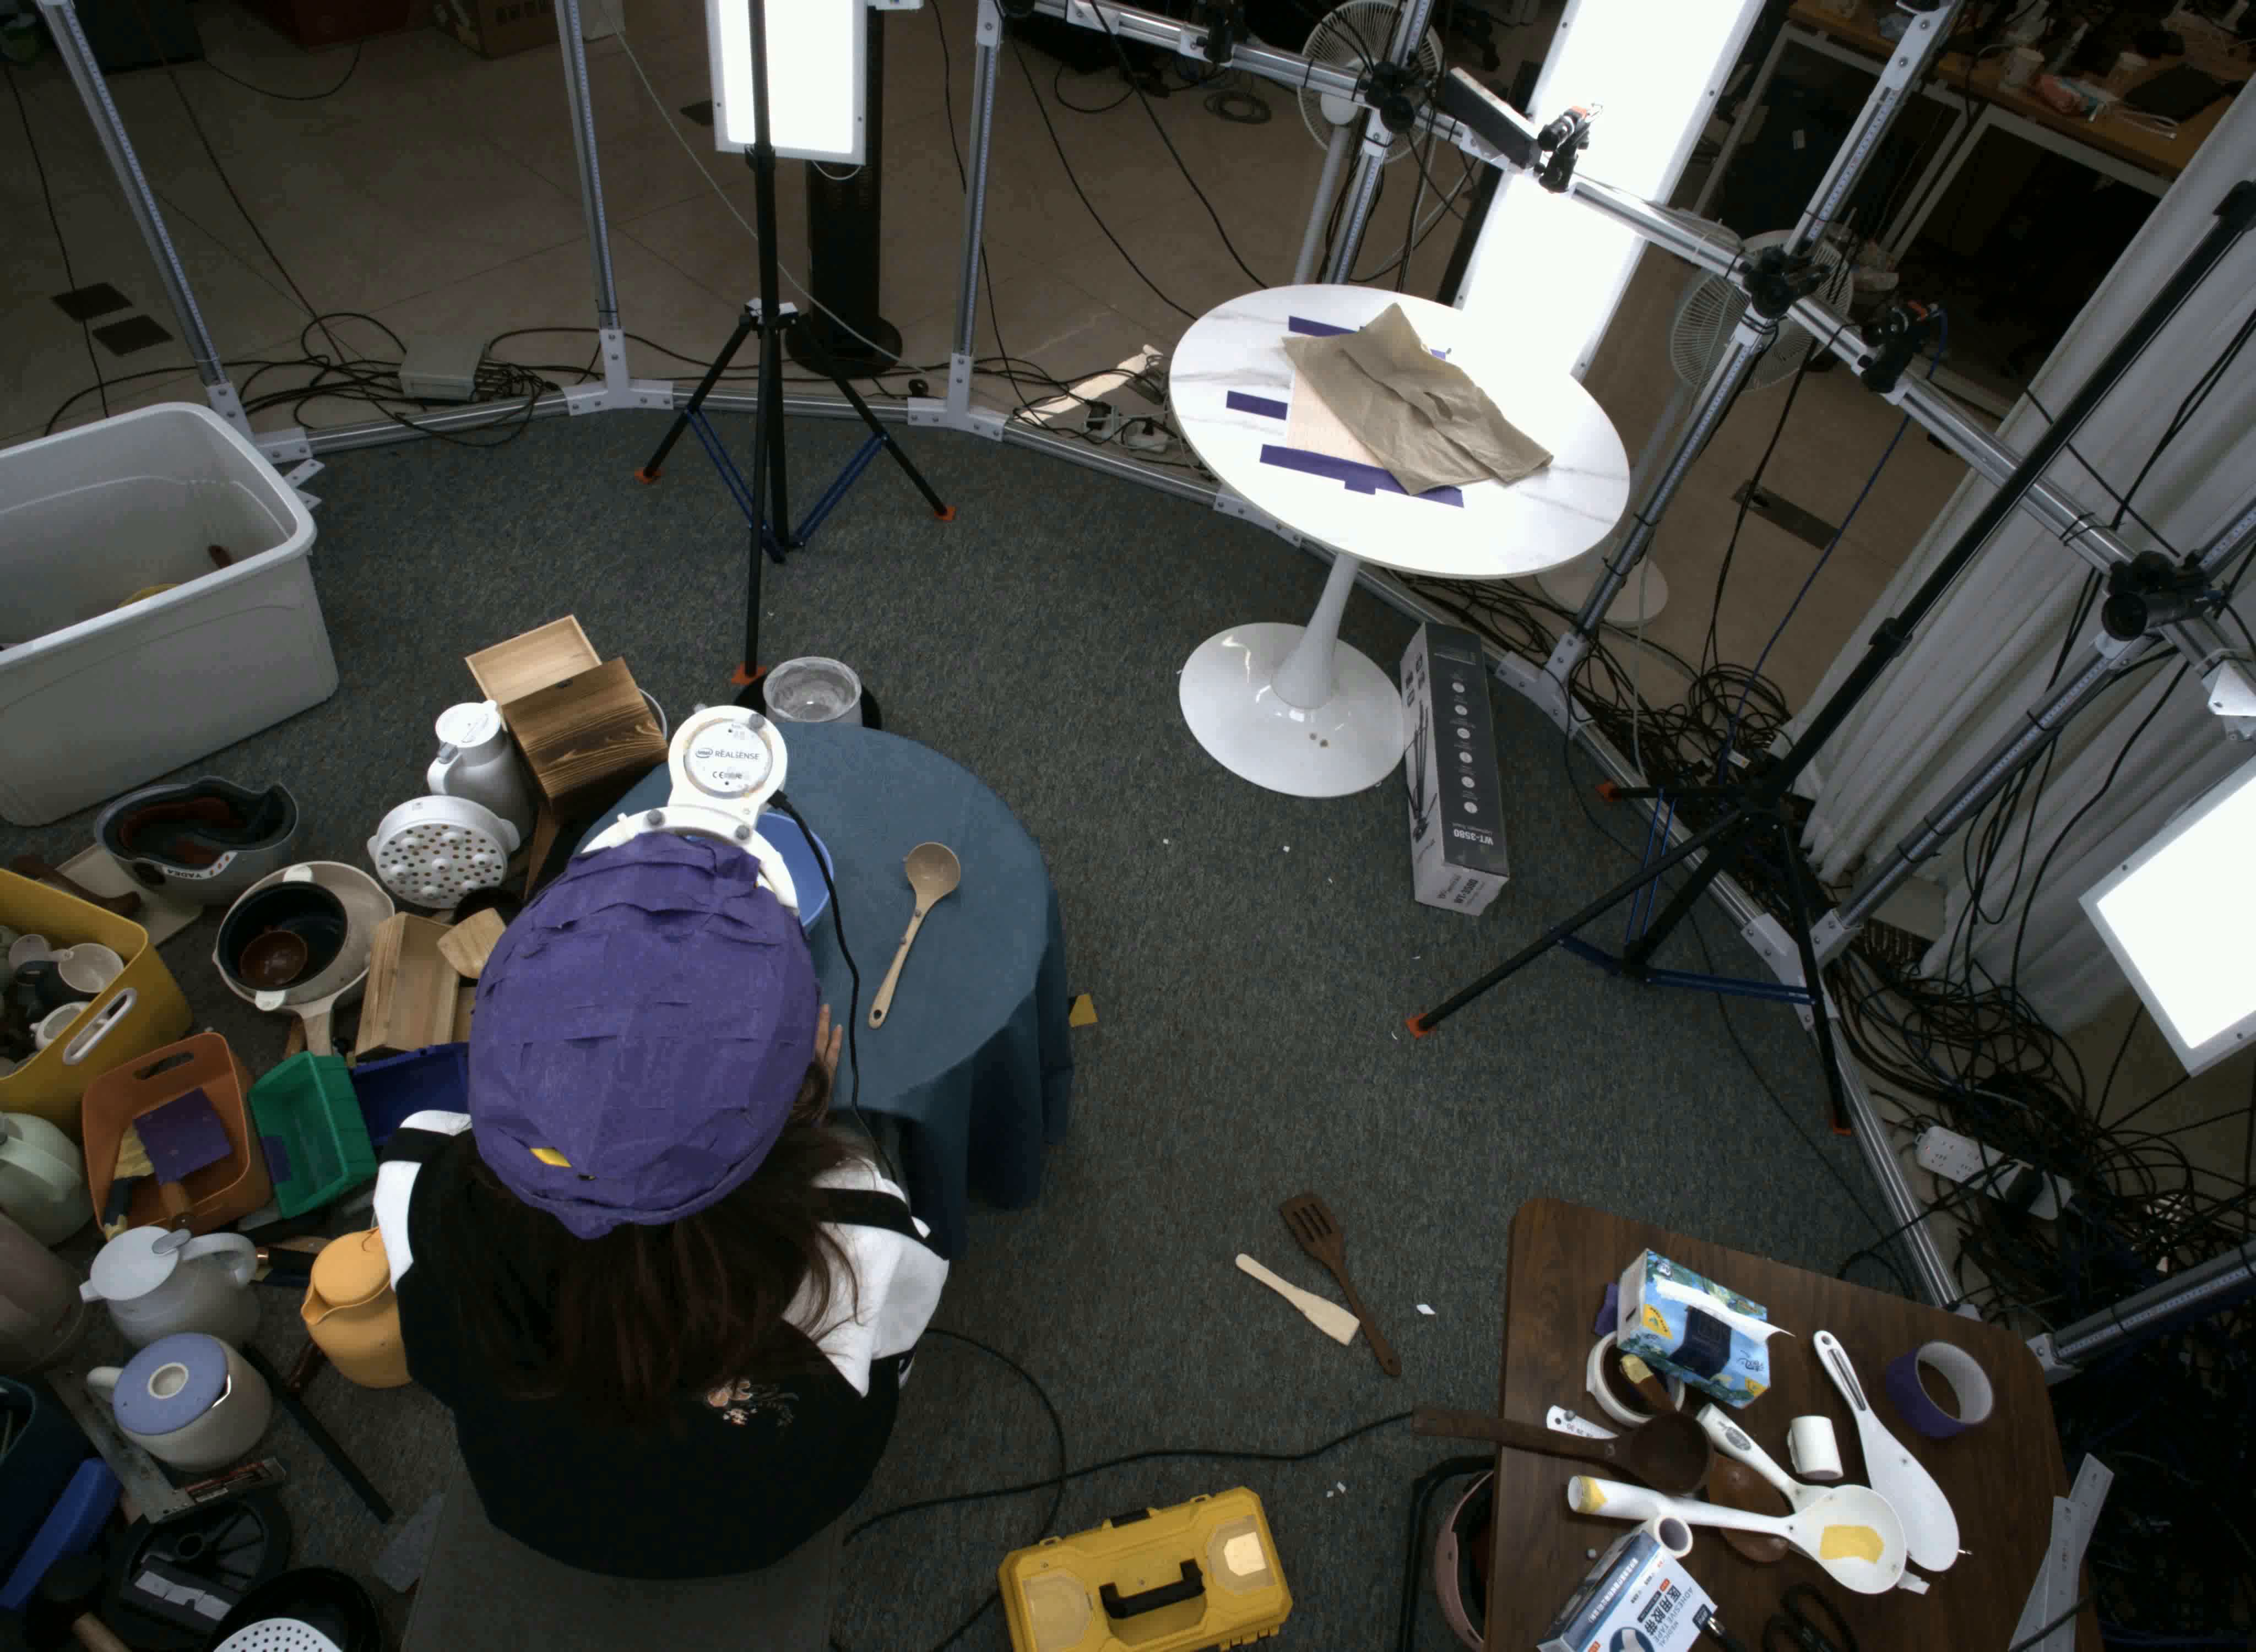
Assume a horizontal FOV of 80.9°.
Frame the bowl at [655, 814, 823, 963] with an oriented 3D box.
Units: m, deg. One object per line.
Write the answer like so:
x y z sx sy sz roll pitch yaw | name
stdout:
-0.473 0.090 1.581 0.196 0.097 0.193 9 52 -10 | bowl

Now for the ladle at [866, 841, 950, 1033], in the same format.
-0.282 0.127 1.614 0.071 0.074 0.251 14 52 -1 | ladle
